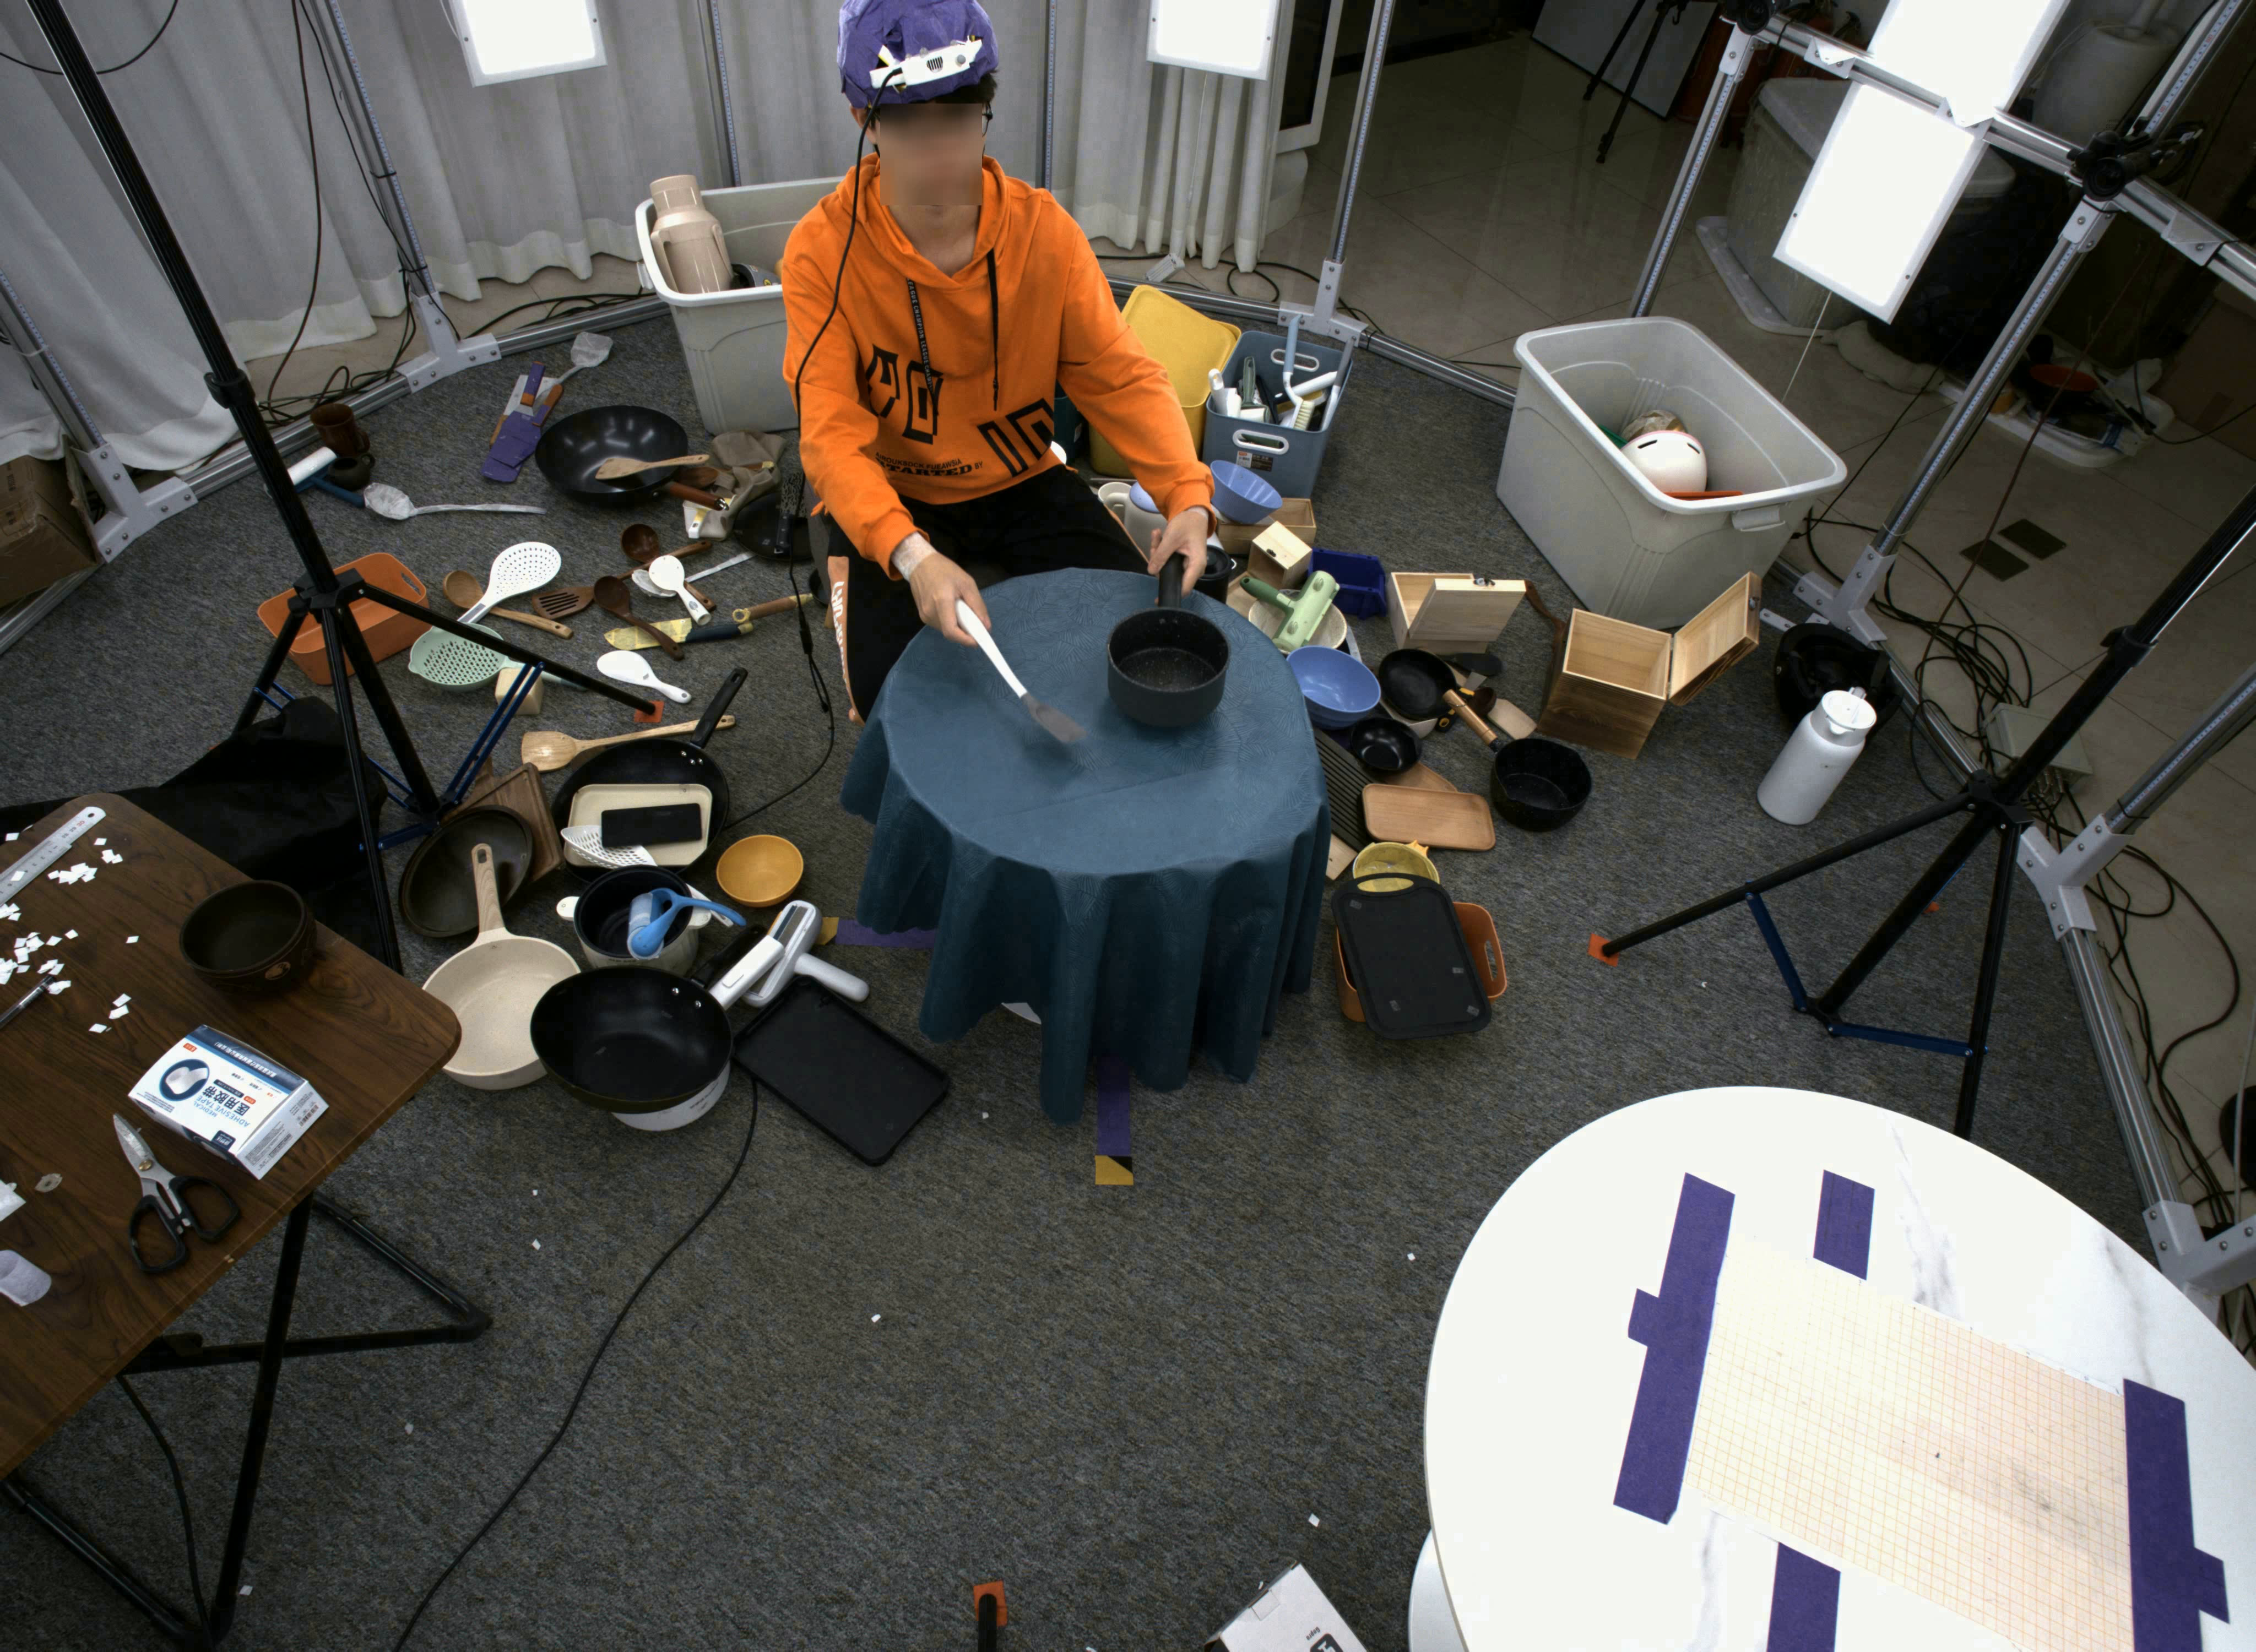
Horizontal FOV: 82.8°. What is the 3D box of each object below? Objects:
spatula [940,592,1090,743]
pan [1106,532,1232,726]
[{"bbox_3d":[-0.159,-0.213,1.750,0.059,0.031,0.291,-19,60,-47],"label":"spatula"},{"bbox_3d":[0.061,-0.283,1.826,0.172,0.084,0.337,5,50,2],"label":"pan"}]
